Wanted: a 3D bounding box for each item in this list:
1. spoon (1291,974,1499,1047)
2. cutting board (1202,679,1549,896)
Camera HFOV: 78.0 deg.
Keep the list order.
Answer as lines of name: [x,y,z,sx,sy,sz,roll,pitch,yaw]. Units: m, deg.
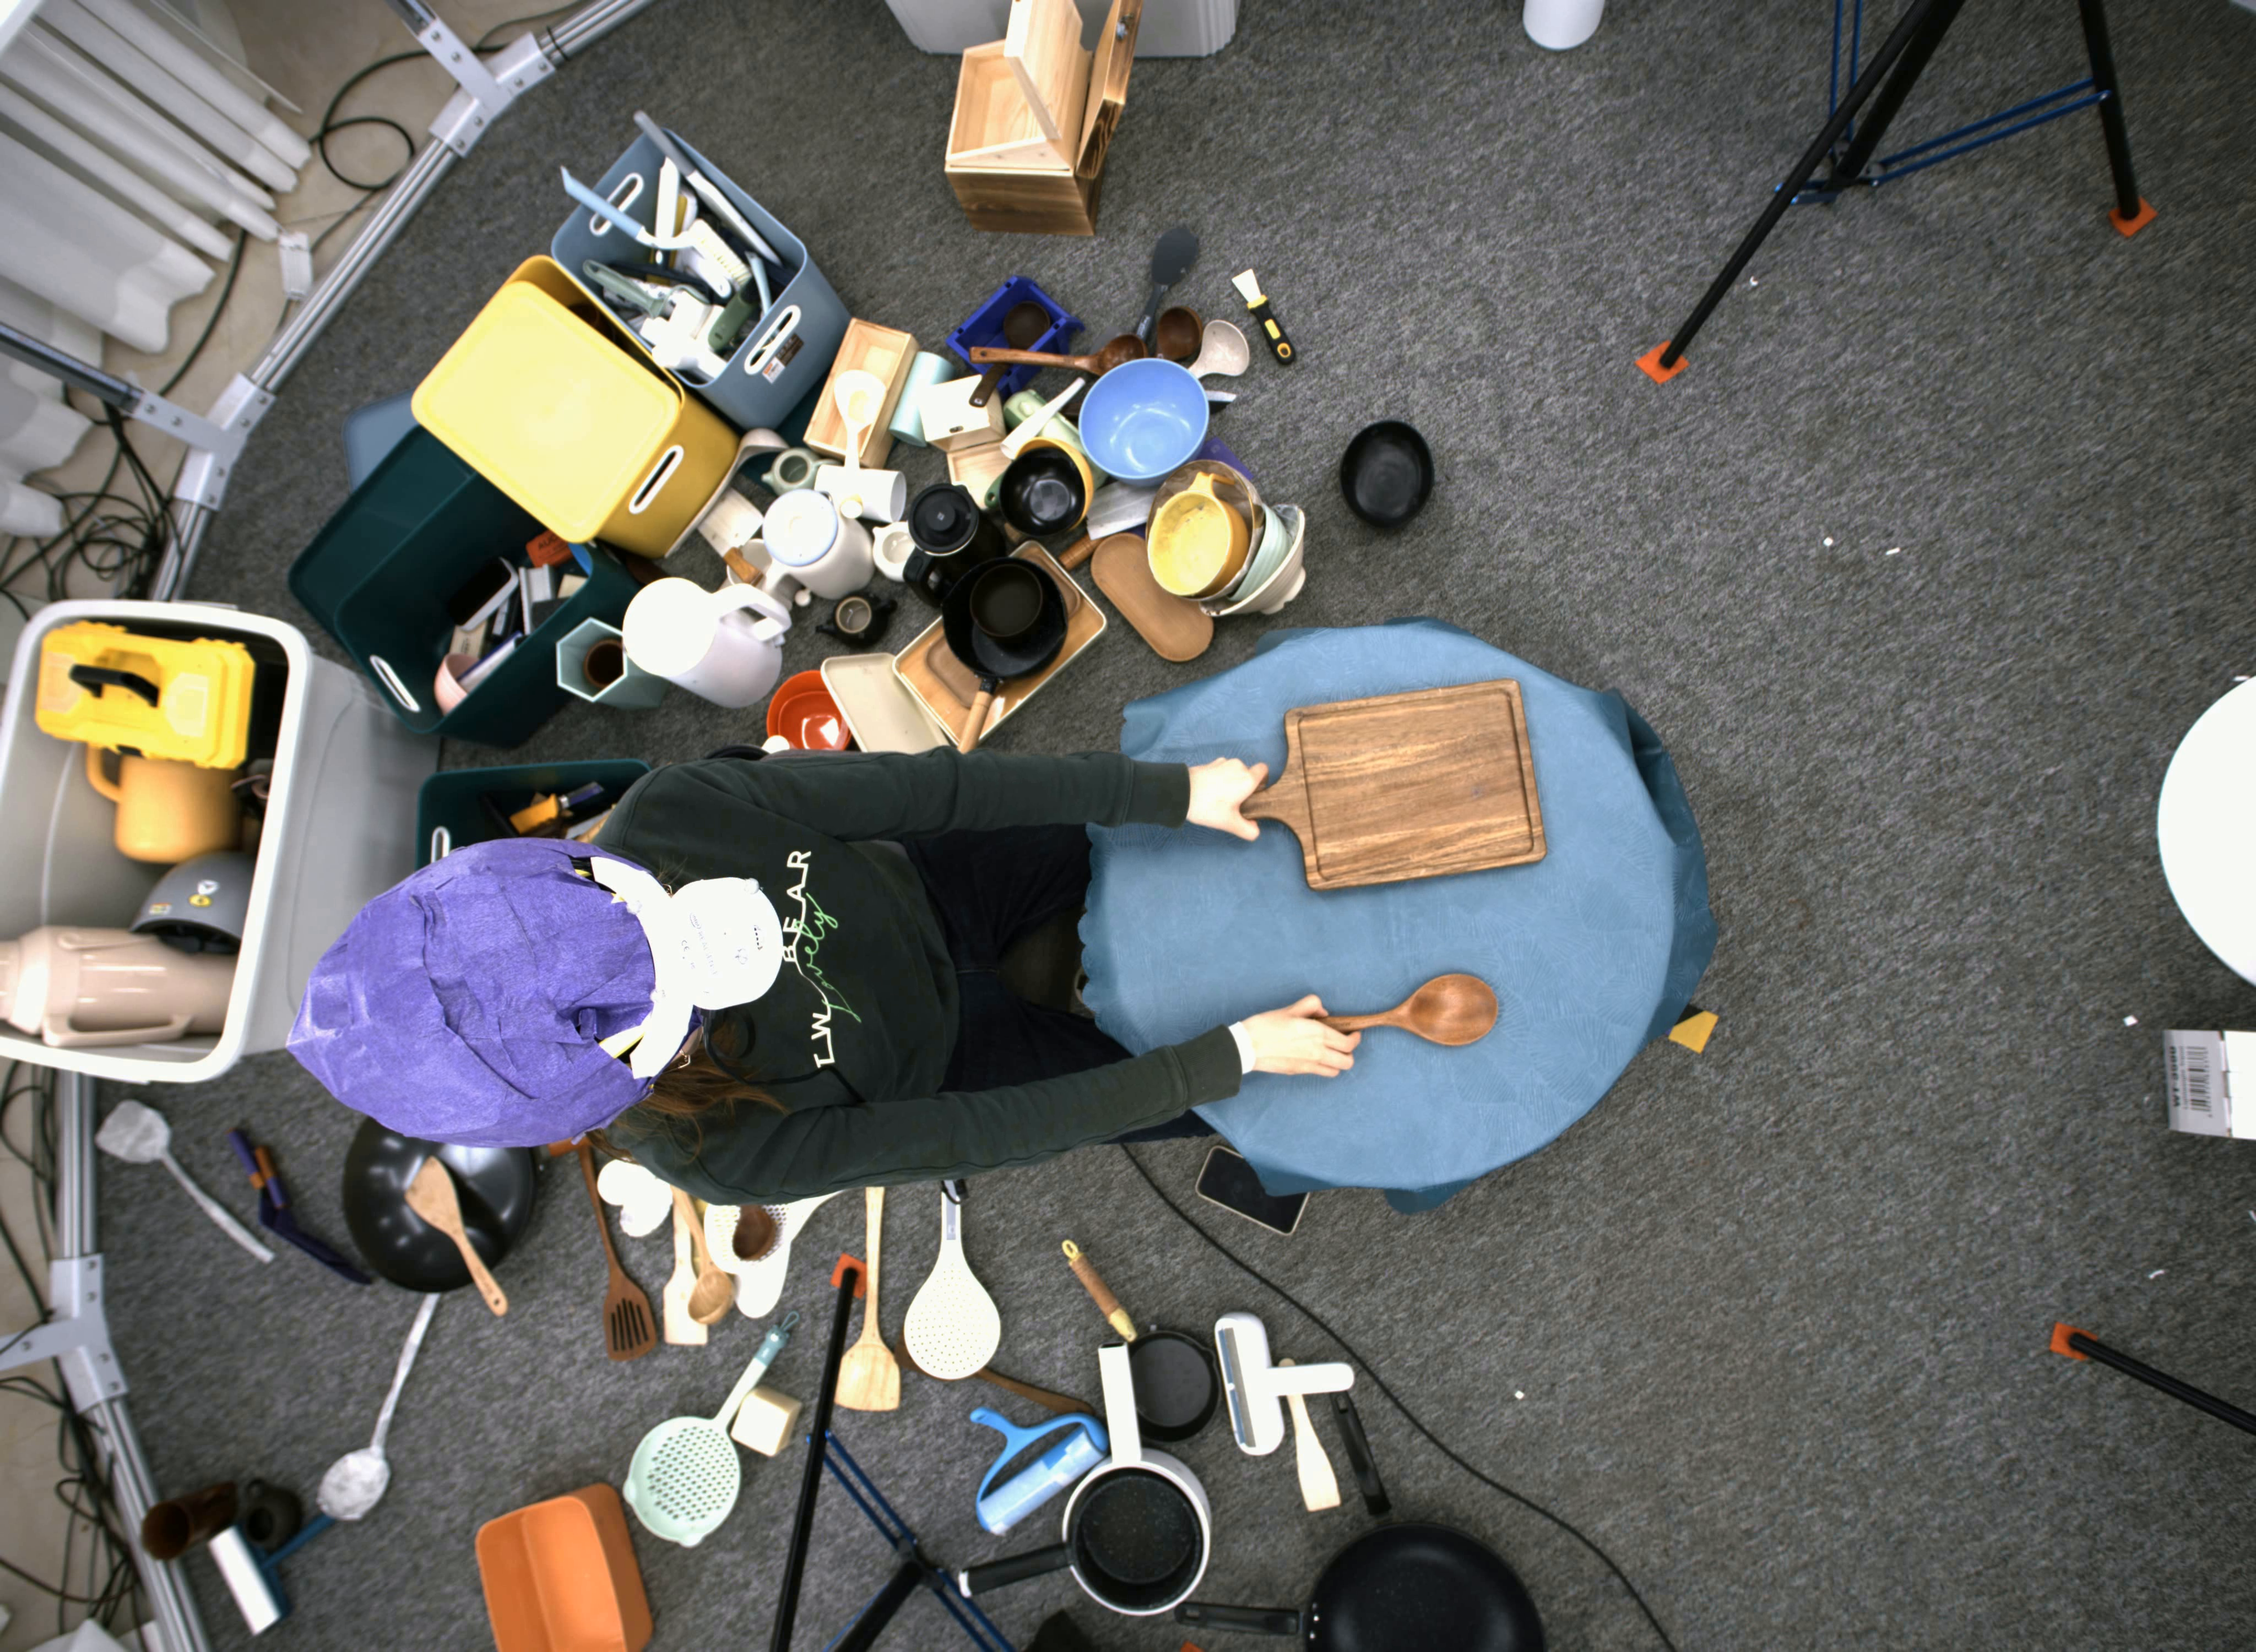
spoon: [0.277,0.200,1.441,0.216,0.017,0.075,-9,87,6]
cutting board: [0.253,-0.035,1.453,0.353,0.023,0.200,-8,86,5]
